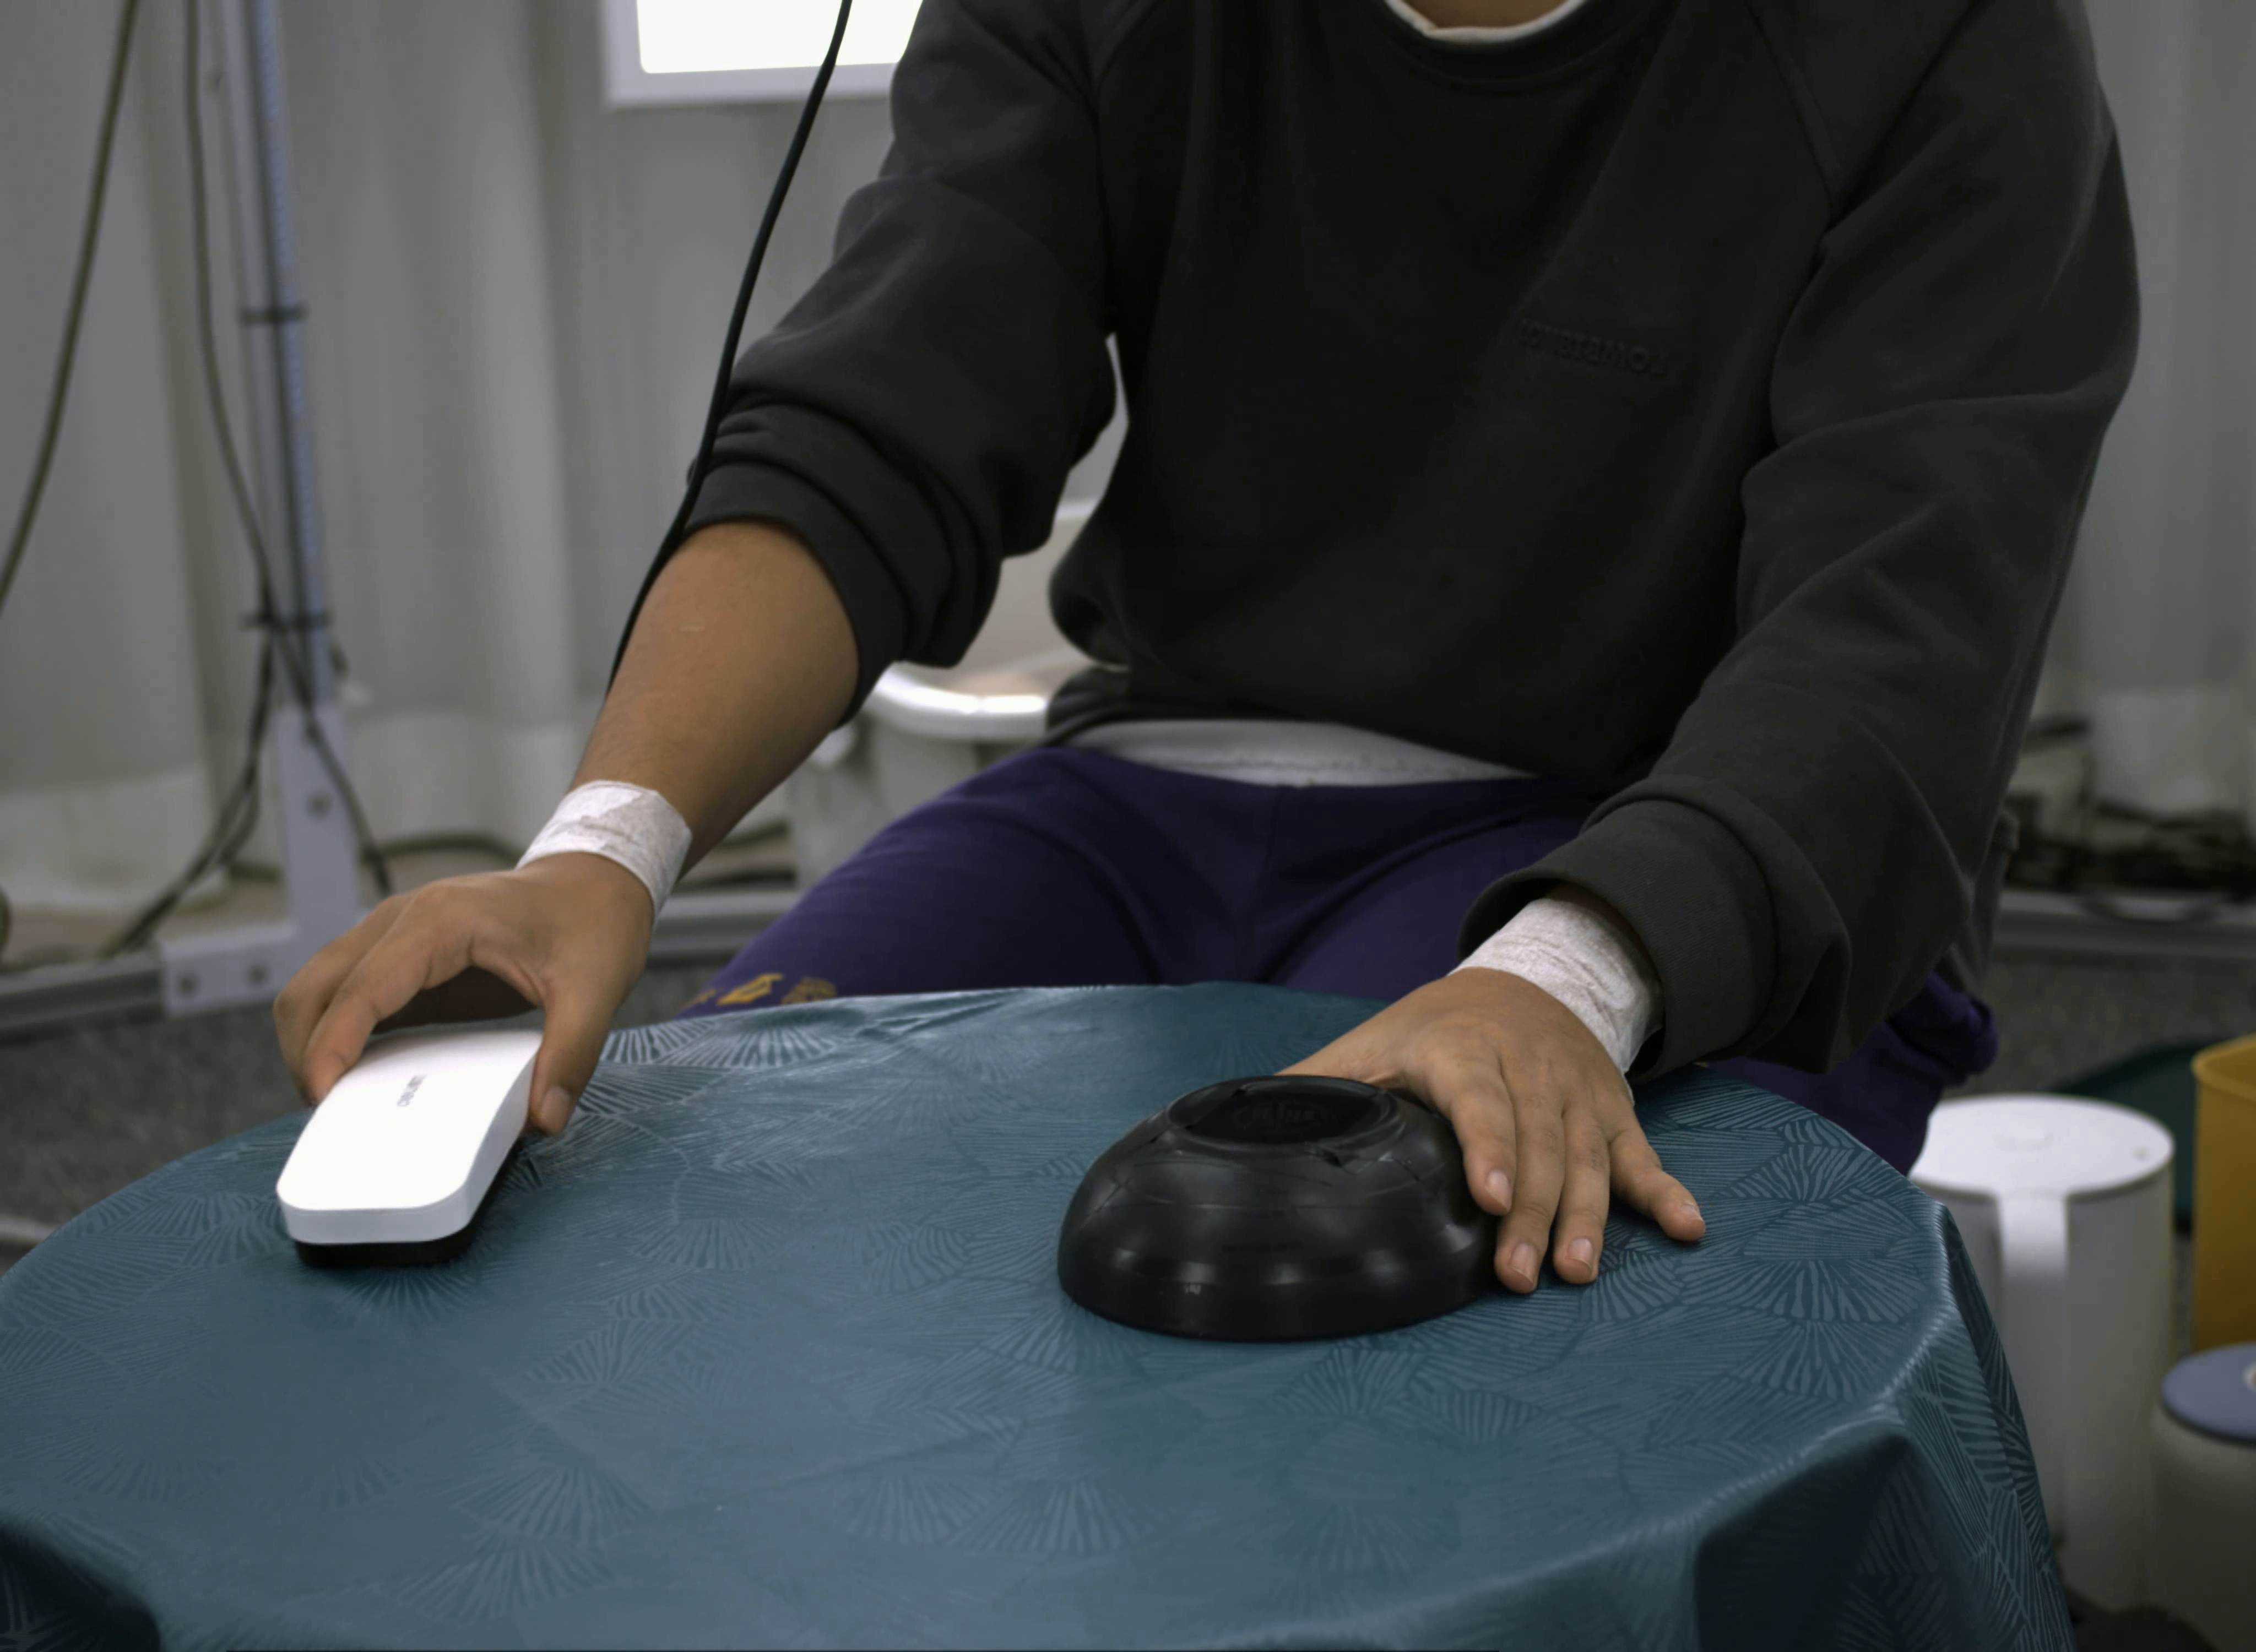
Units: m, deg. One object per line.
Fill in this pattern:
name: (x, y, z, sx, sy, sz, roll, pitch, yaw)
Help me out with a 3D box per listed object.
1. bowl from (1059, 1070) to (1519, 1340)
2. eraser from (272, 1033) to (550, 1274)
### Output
bowl: (0.047, 0.107, 1.637, 0.139, 0.049, 0.141, -4, 15, 1)
eraser: (-0.223, 0.099, 1.731, 0.063, 0.034, 0.132, 0, 22, 11)
